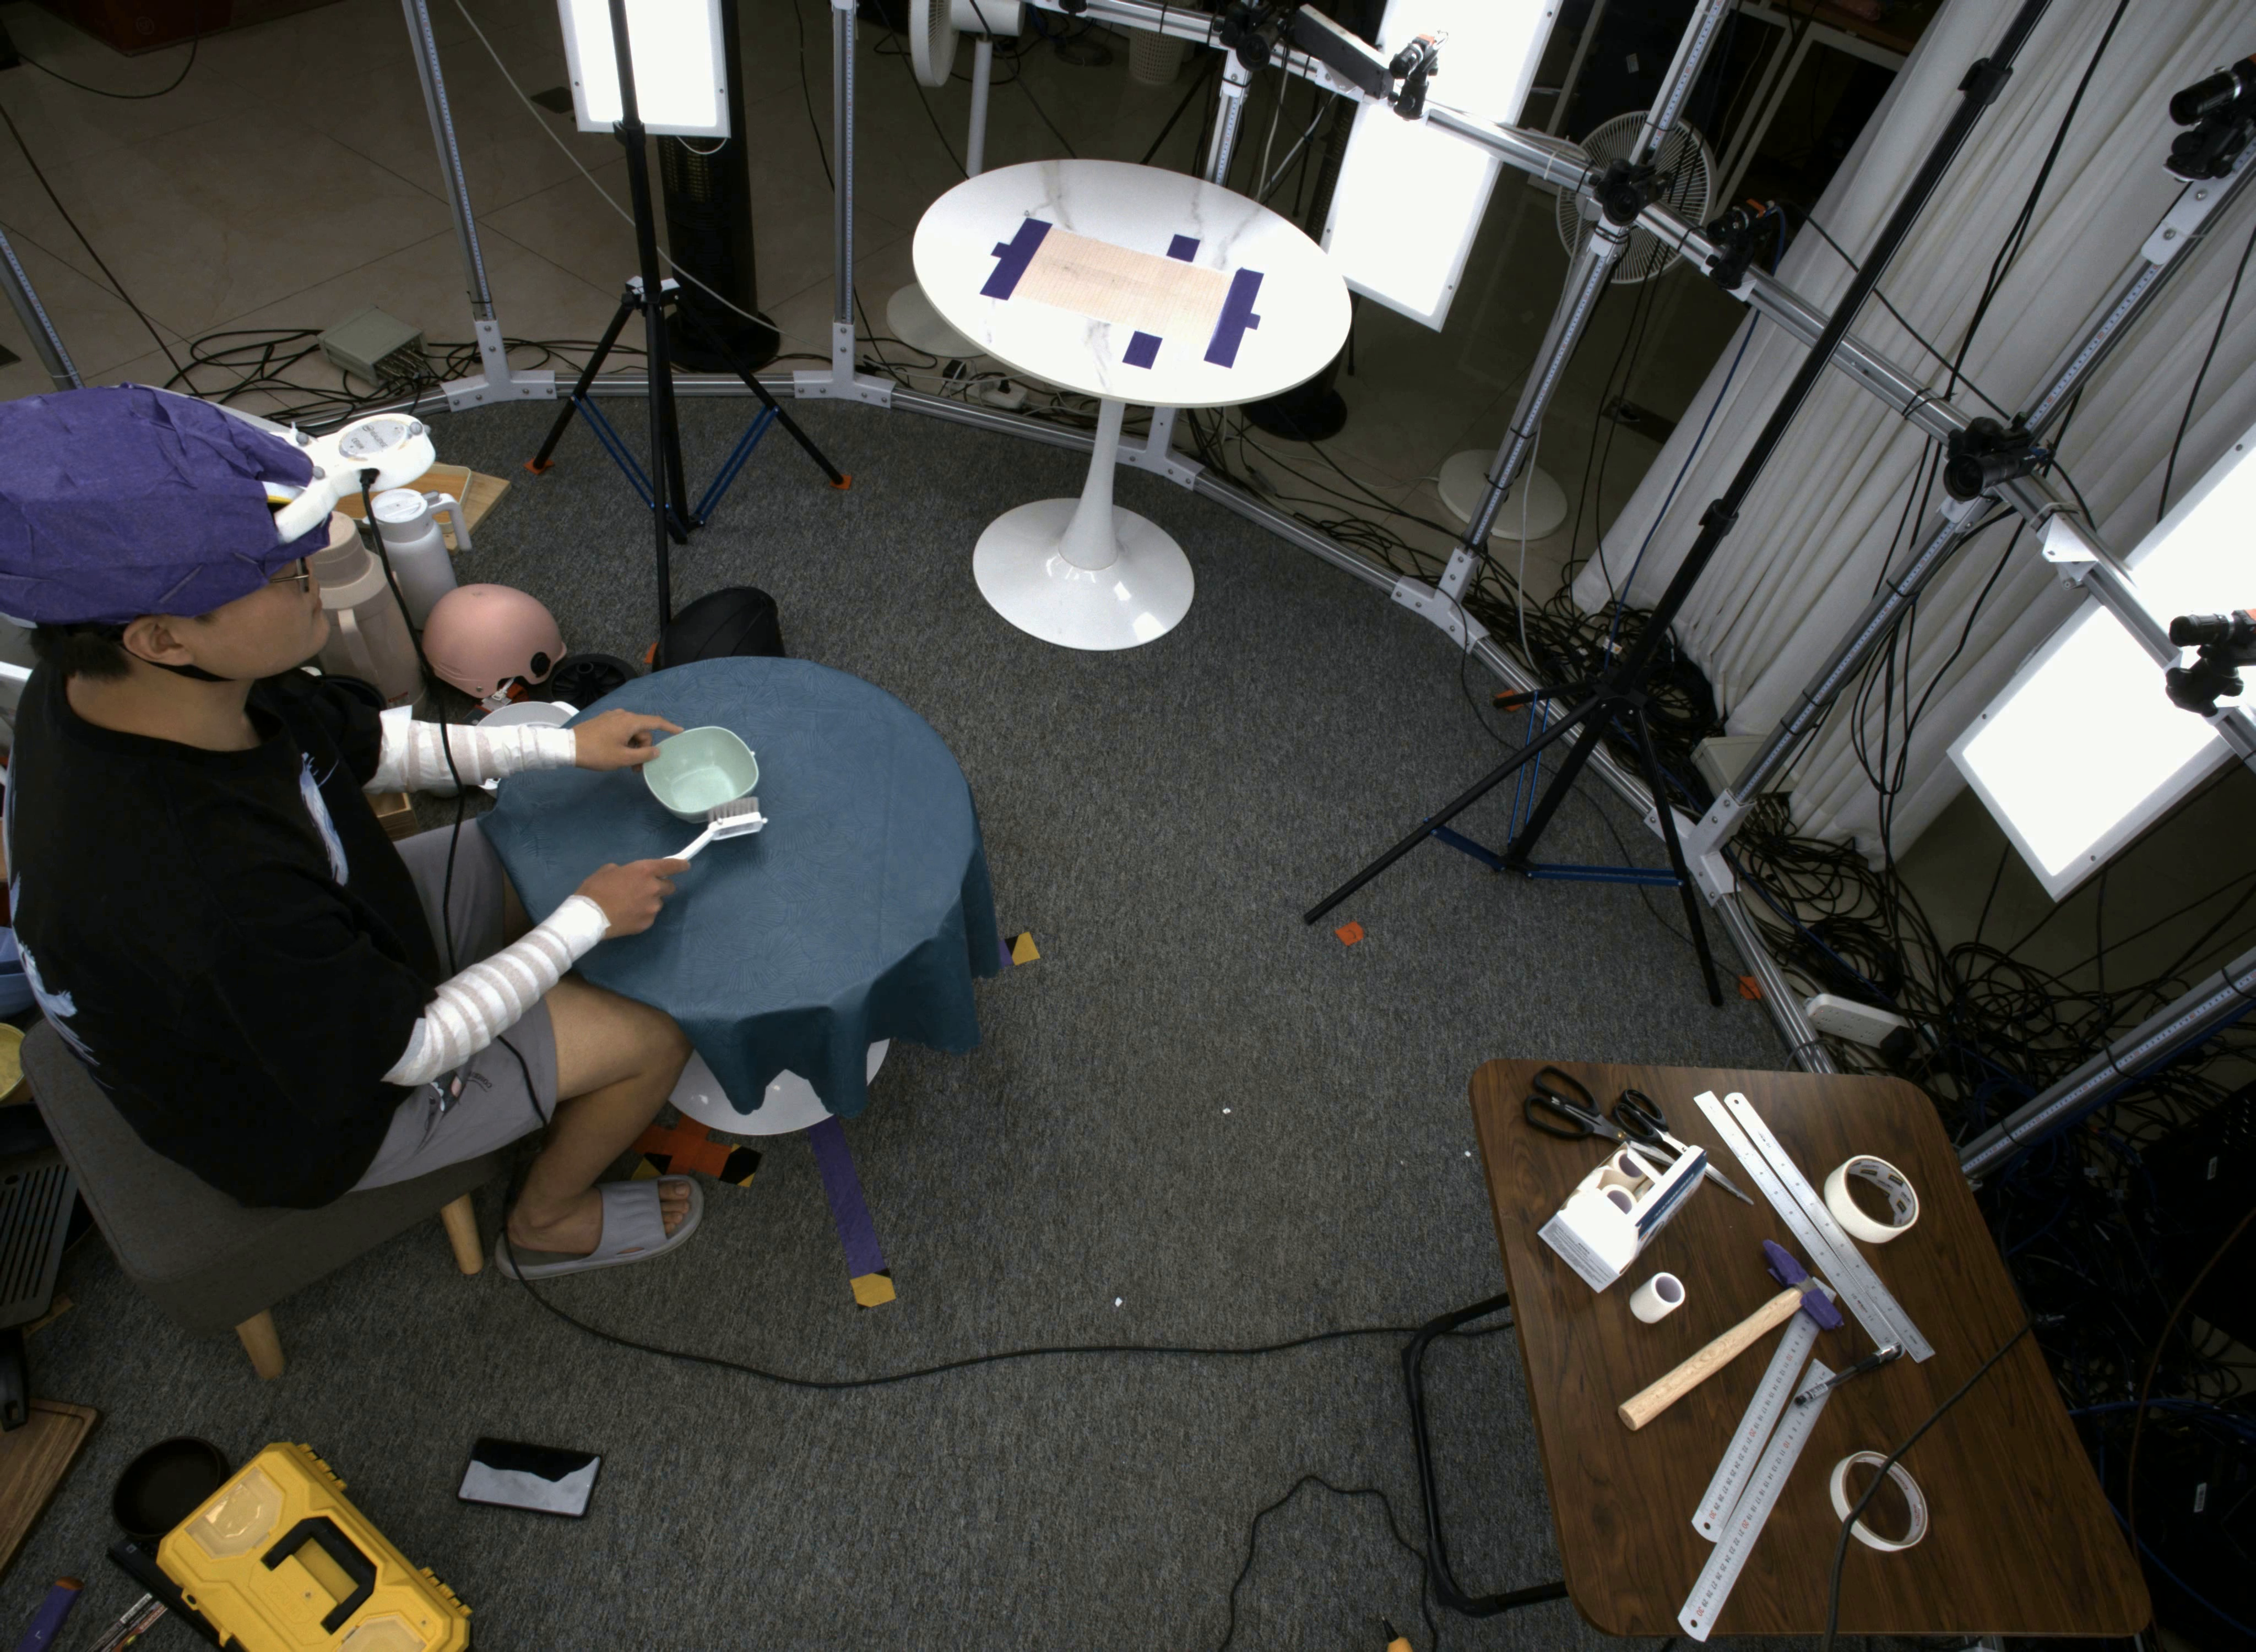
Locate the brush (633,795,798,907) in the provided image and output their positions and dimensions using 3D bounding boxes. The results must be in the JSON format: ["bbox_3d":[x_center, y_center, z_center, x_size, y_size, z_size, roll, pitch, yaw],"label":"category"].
[{"bbox_3d":[-0.525,0.024,1.630,0.244,0.035,0.049,-31,70,-31],"label":"brush"}]

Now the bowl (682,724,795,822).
[{"bbox_3d":[-0.517,-0.062,1.724,0.151,0.060,0.149,6,53,-7],"label":"bowl"}]
